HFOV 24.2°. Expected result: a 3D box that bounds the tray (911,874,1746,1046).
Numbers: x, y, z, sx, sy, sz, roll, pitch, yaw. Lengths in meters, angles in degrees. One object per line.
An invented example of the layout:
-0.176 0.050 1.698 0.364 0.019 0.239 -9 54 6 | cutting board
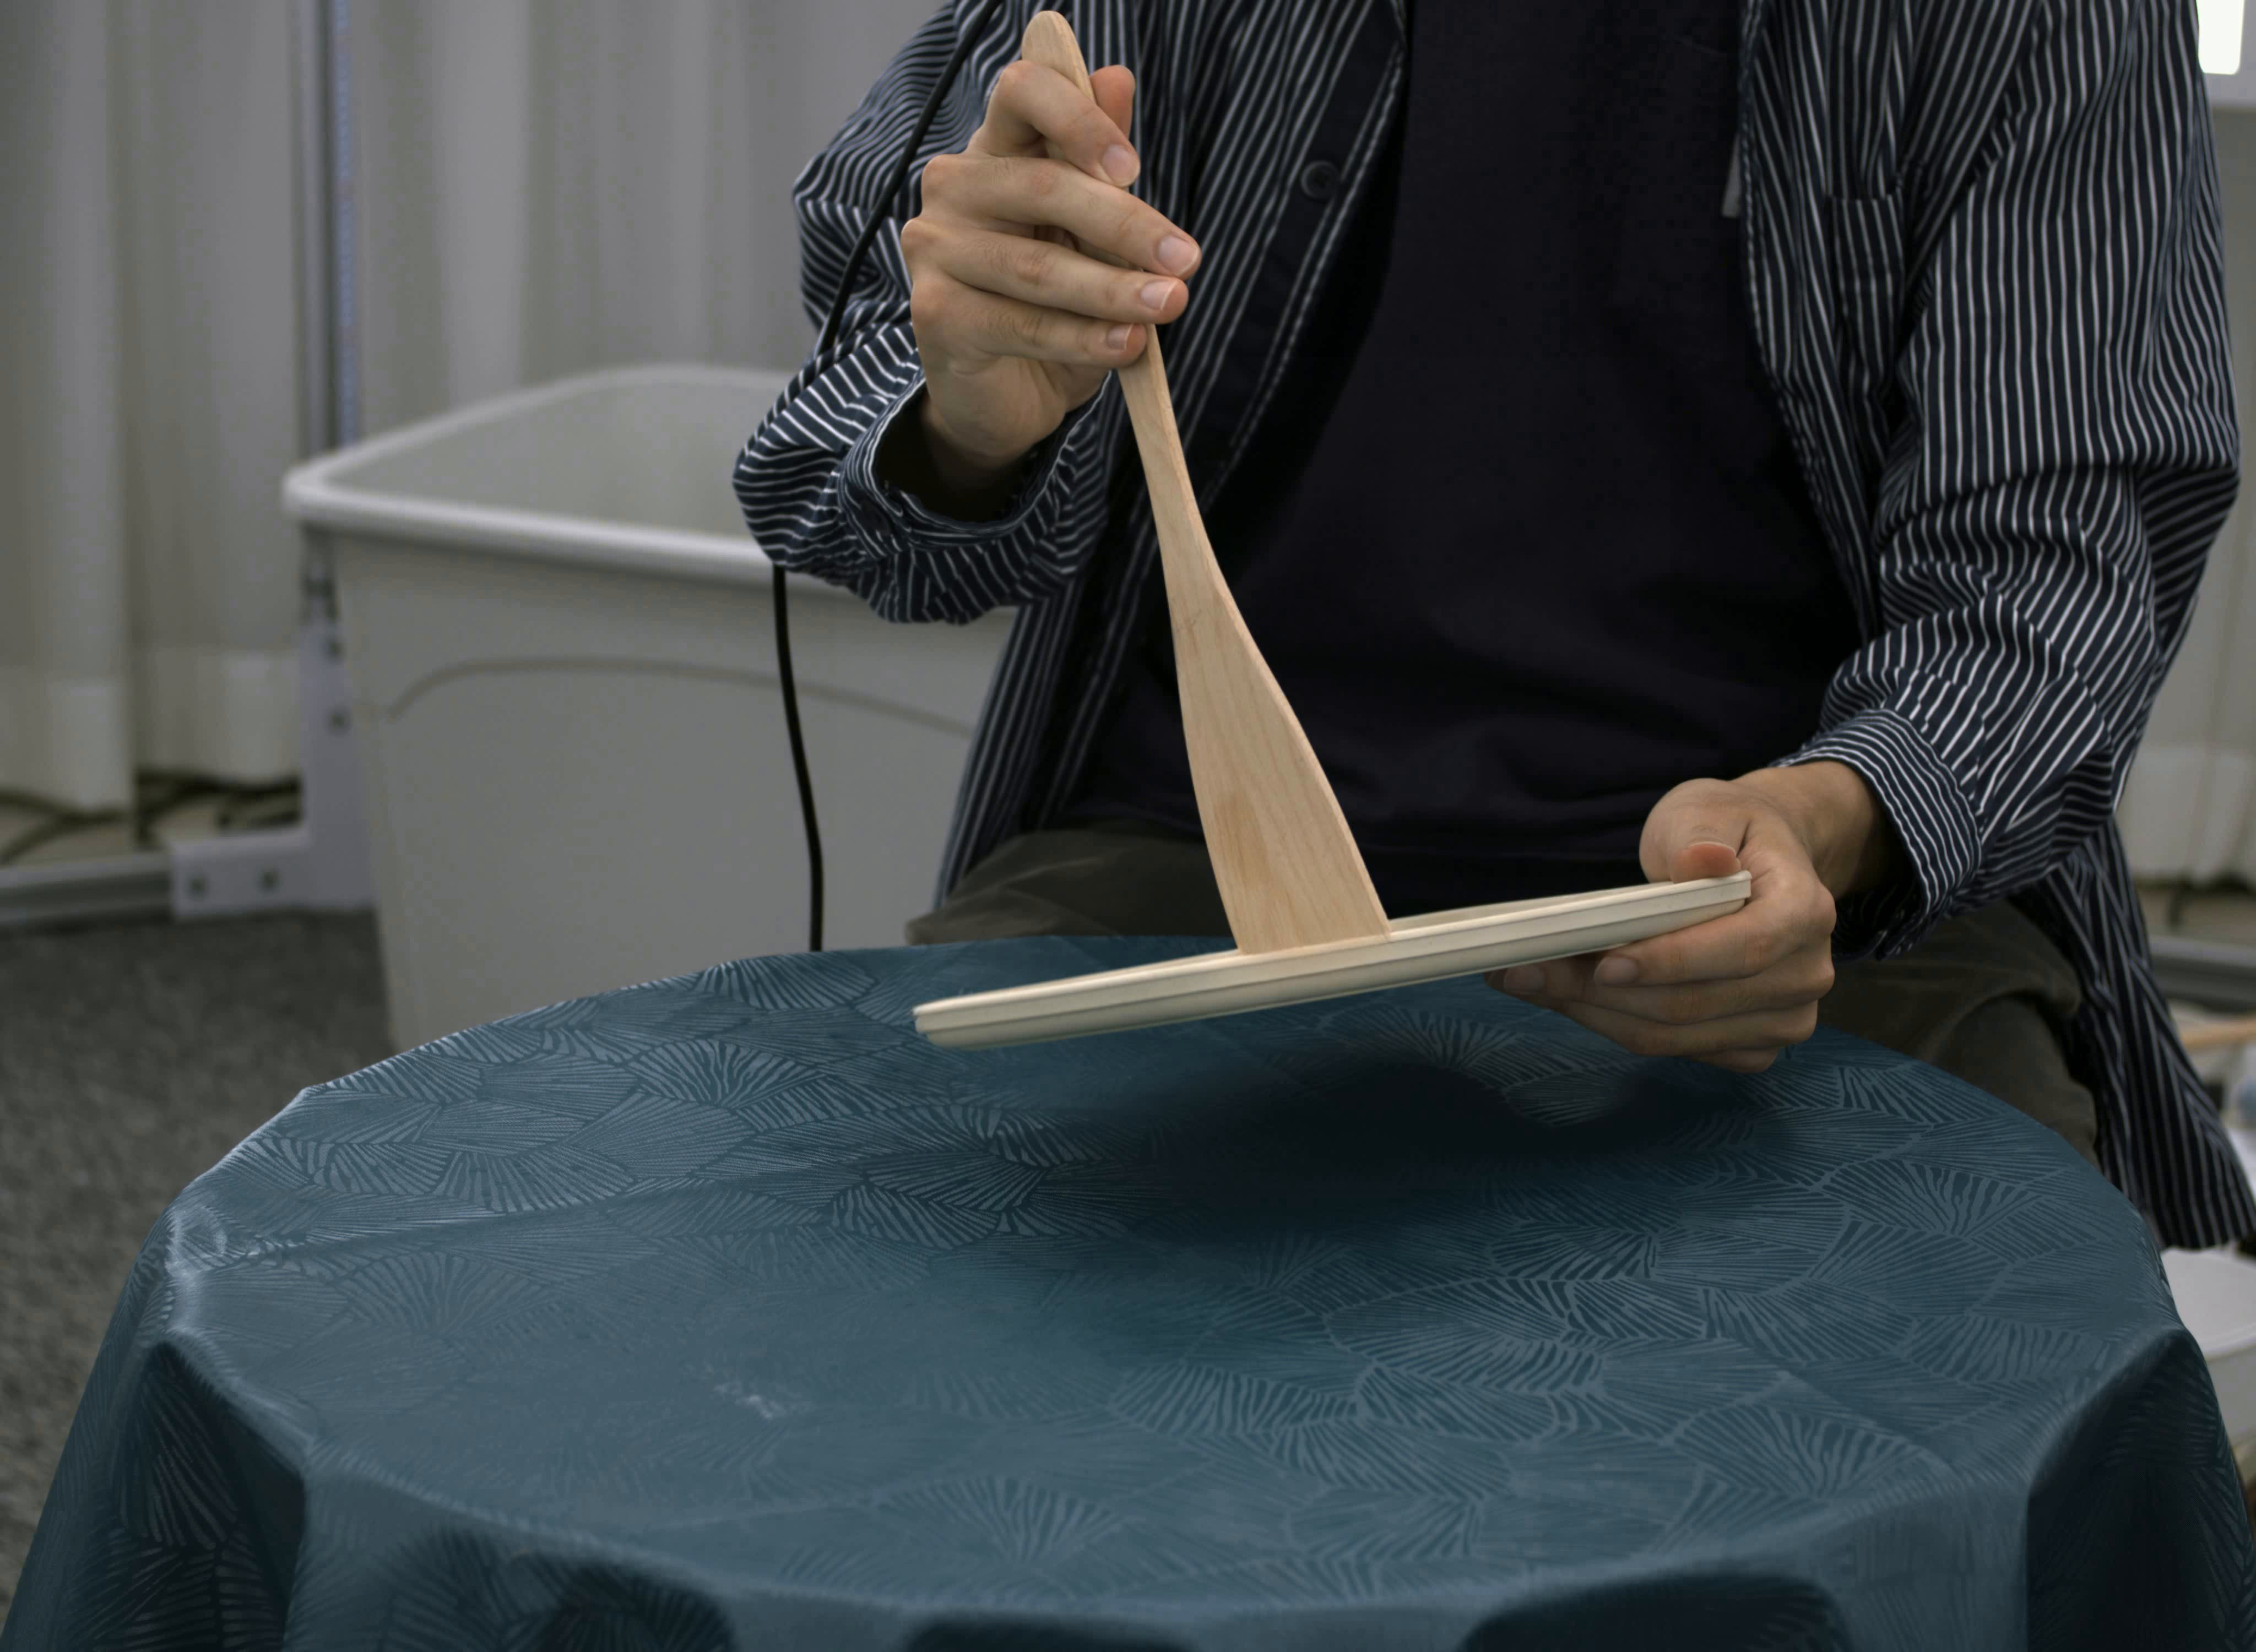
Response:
0.065 0.043 1.643 0.241 0.017 0.170 -8 -1 -39 | tray

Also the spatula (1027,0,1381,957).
0.015 -0.105 1.632 0.016 0.327 0.079 -7 -14 -31 | spatula
